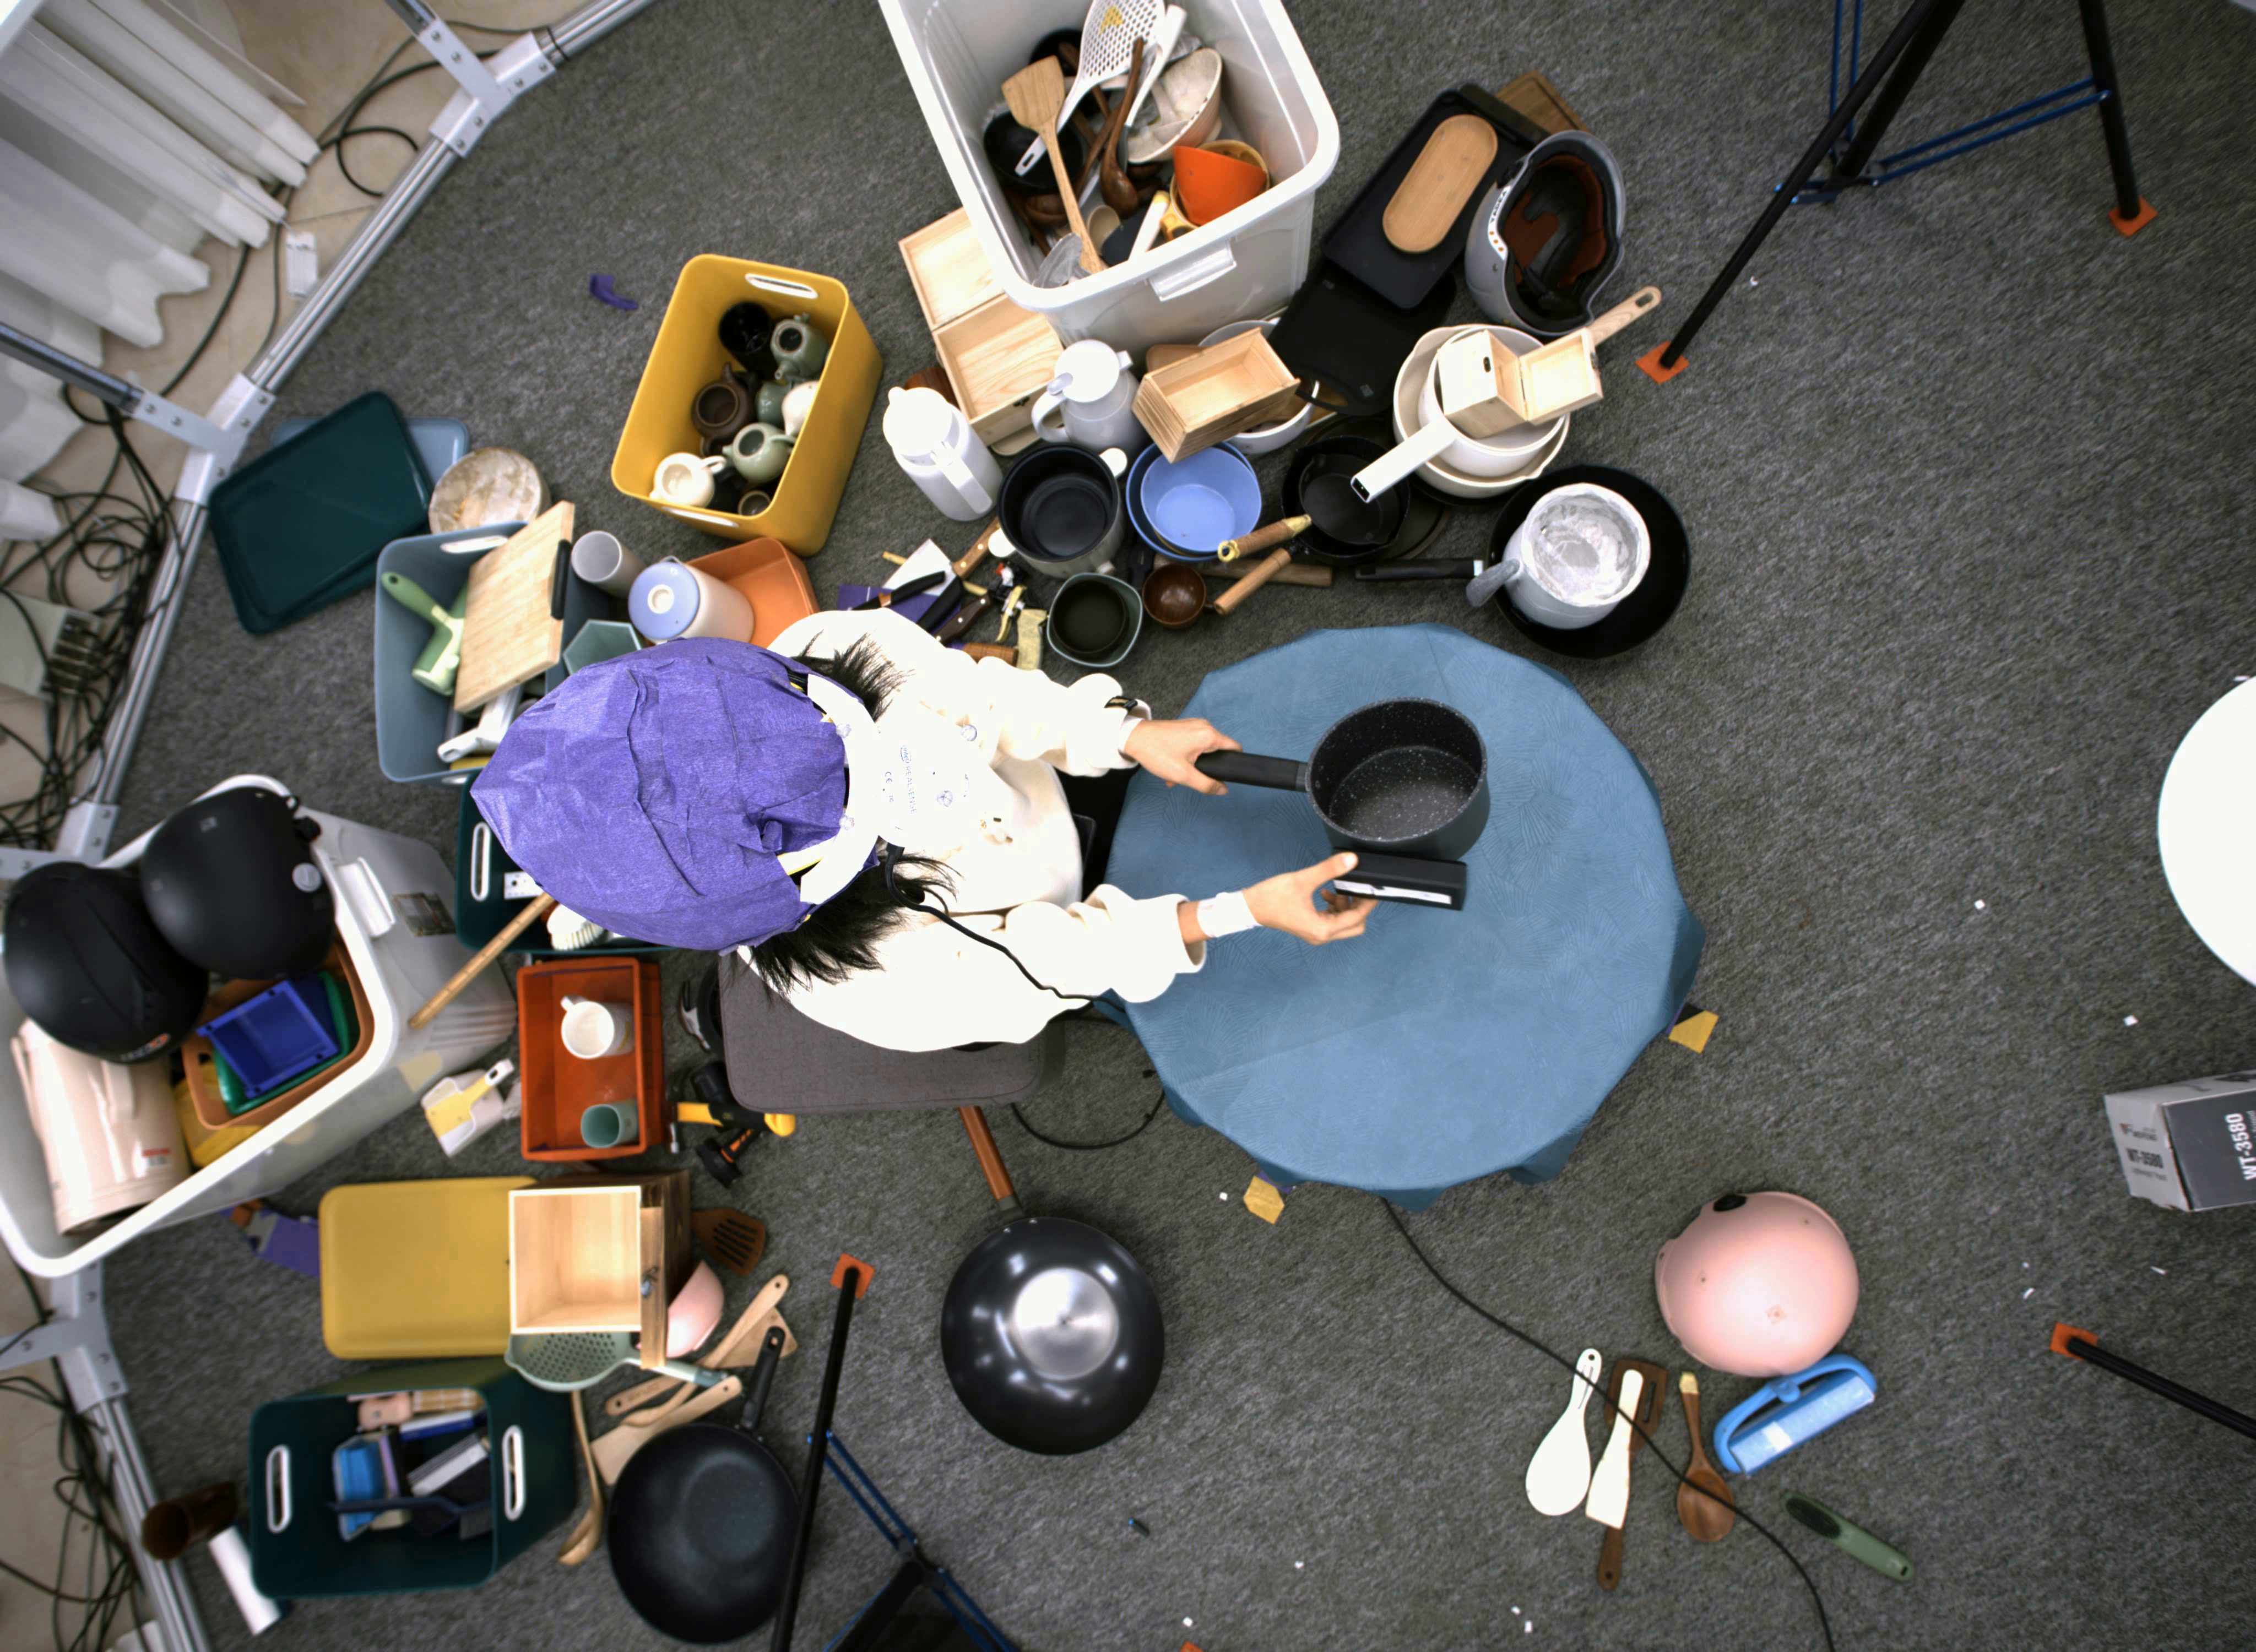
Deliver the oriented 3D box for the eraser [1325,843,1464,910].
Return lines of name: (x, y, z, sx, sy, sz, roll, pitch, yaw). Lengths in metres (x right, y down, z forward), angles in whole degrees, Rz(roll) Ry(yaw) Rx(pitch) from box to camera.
eraser: (0.249, 0.045, 1.285, 0.126, 0.054, 0.030, 8, 62, 23)

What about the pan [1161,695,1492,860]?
pan: (0.193, -0.046, 1.361, 0.330, 0.088, 0.168, 7, 60, 25)
